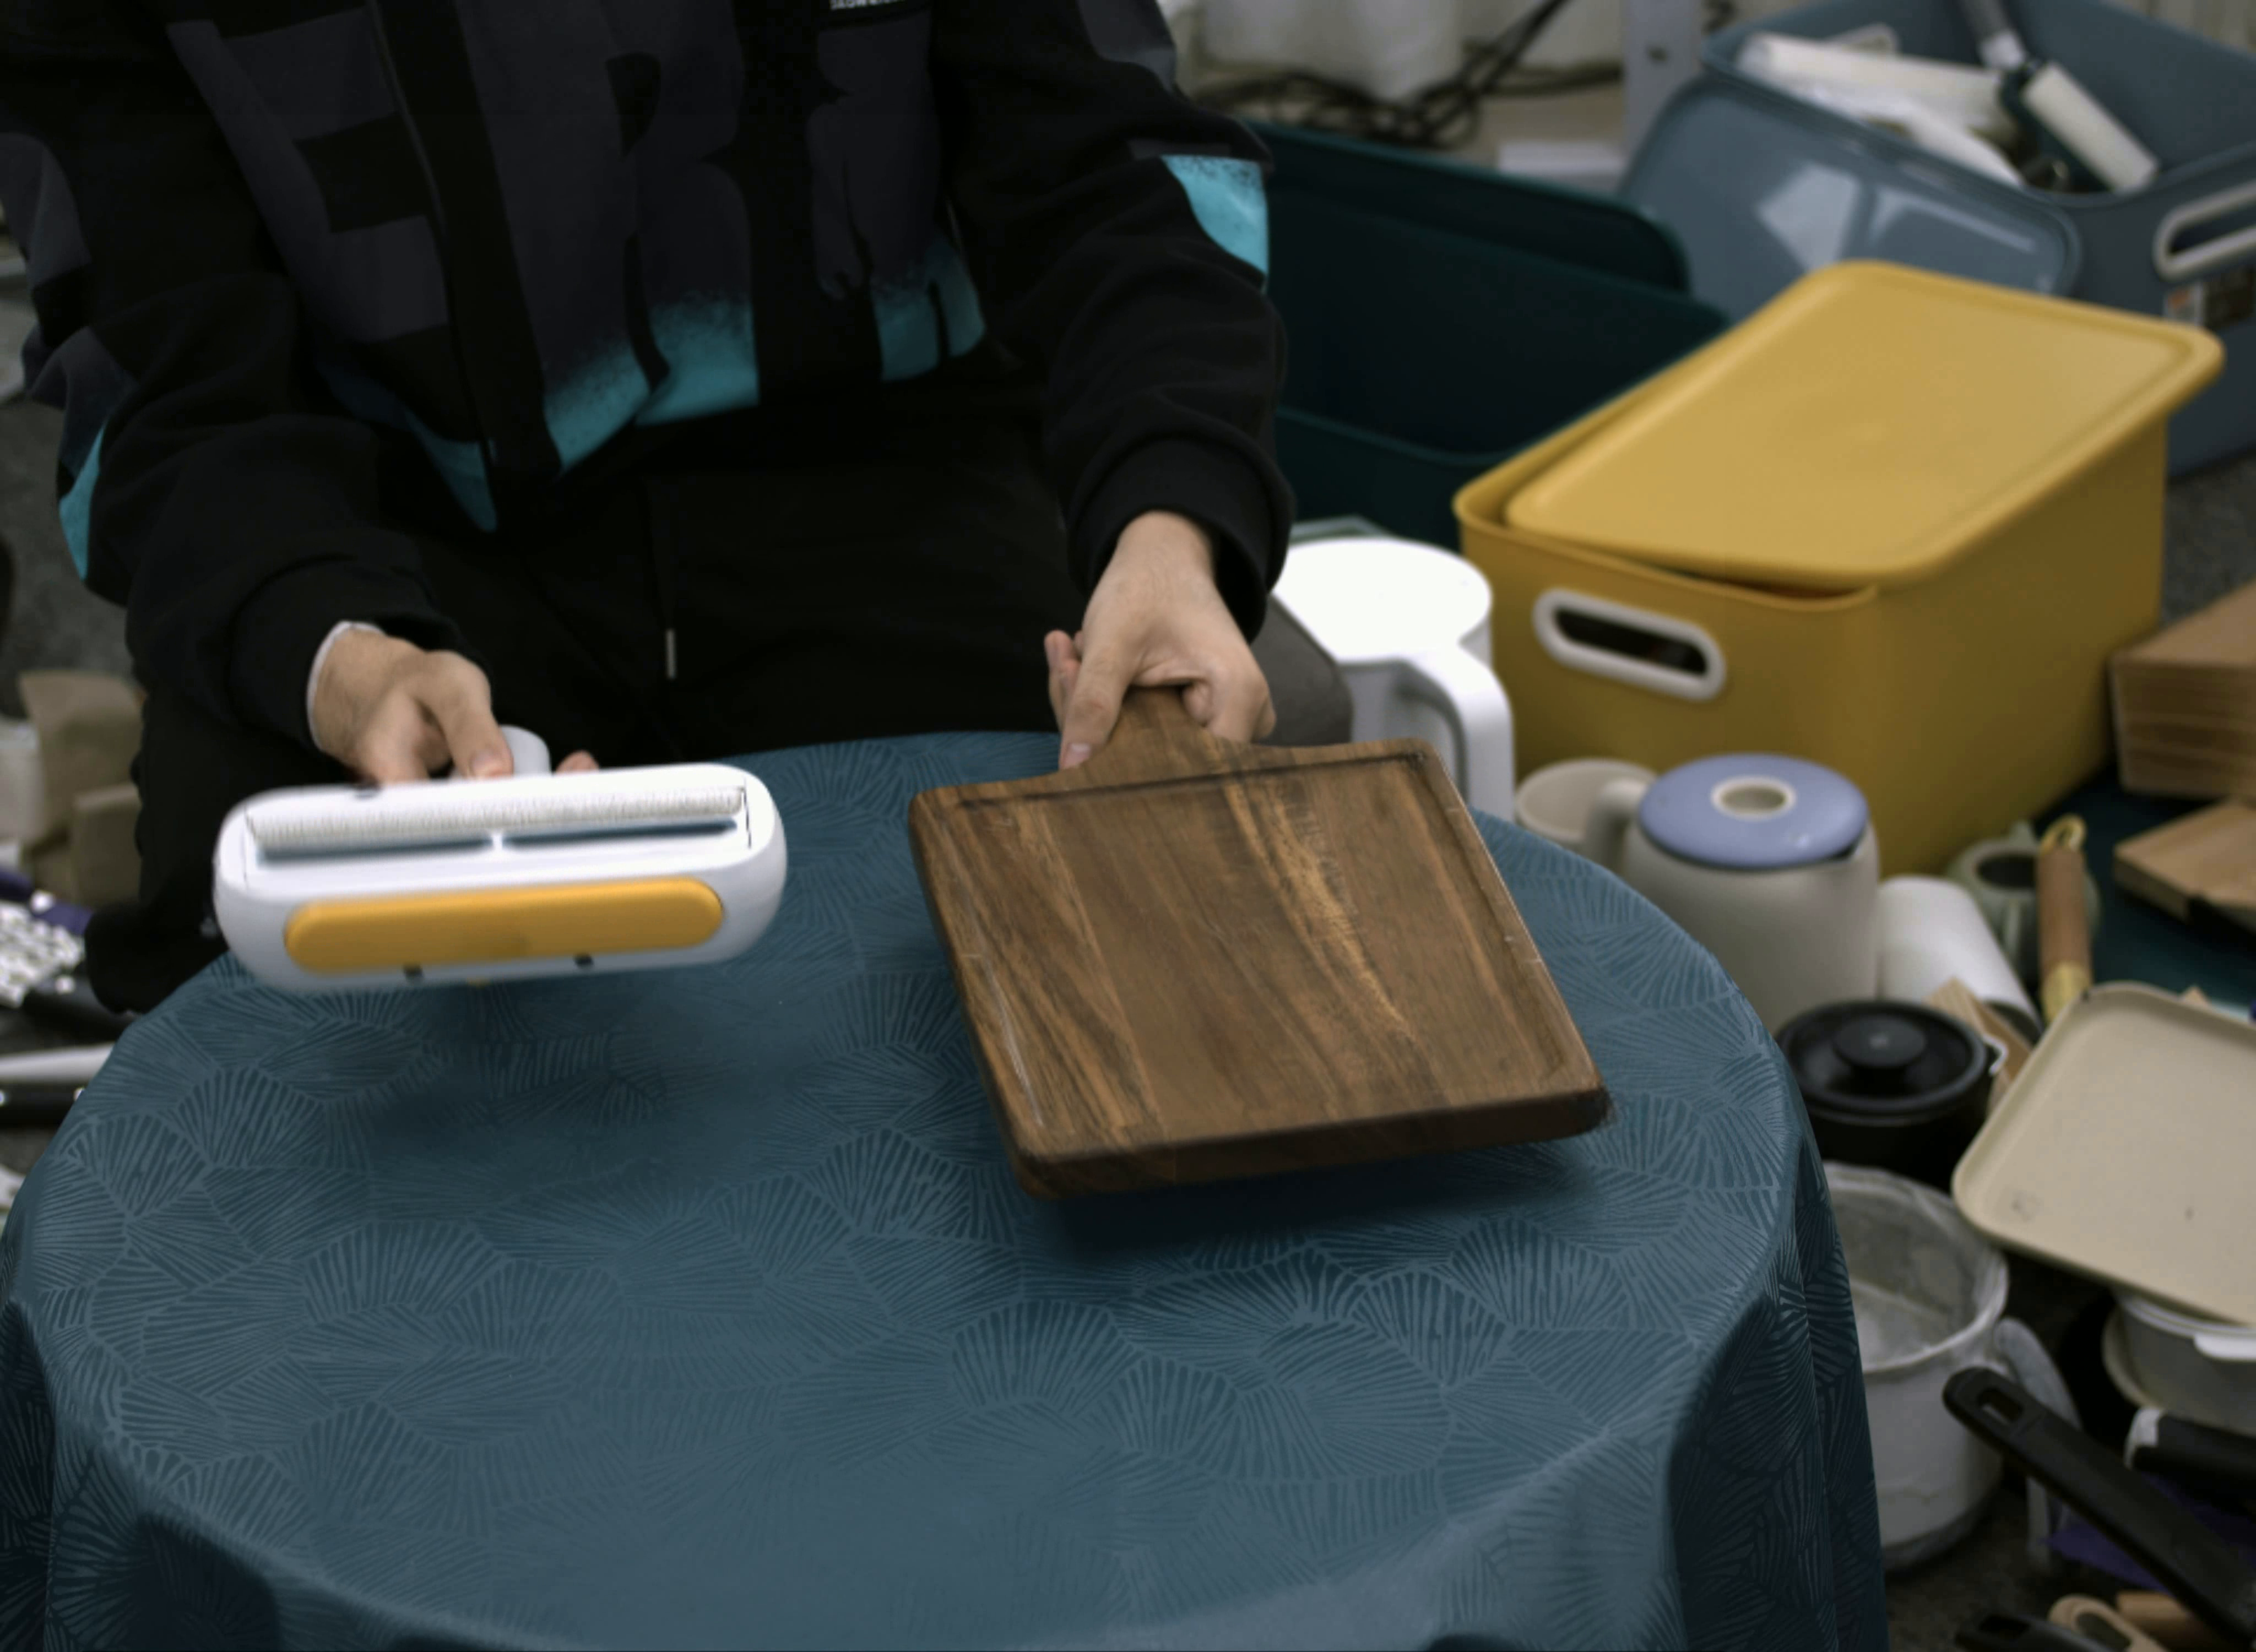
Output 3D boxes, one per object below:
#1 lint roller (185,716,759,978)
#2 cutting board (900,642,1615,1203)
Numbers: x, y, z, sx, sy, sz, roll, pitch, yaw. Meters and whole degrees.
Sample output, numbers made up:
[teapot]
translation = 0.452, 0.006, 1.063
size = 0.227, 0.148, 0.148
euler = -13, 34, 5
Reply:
[lint roller]
translation = -0.222, -0.006, 1.954
size = 0.192, 0.073, 0.195
euler = -4, 26, -1
[cutting board]
translation = 0.029, 0.021, 1.963
size = 0.201, 0.023, 0.356
euler = -6, 29, -9
